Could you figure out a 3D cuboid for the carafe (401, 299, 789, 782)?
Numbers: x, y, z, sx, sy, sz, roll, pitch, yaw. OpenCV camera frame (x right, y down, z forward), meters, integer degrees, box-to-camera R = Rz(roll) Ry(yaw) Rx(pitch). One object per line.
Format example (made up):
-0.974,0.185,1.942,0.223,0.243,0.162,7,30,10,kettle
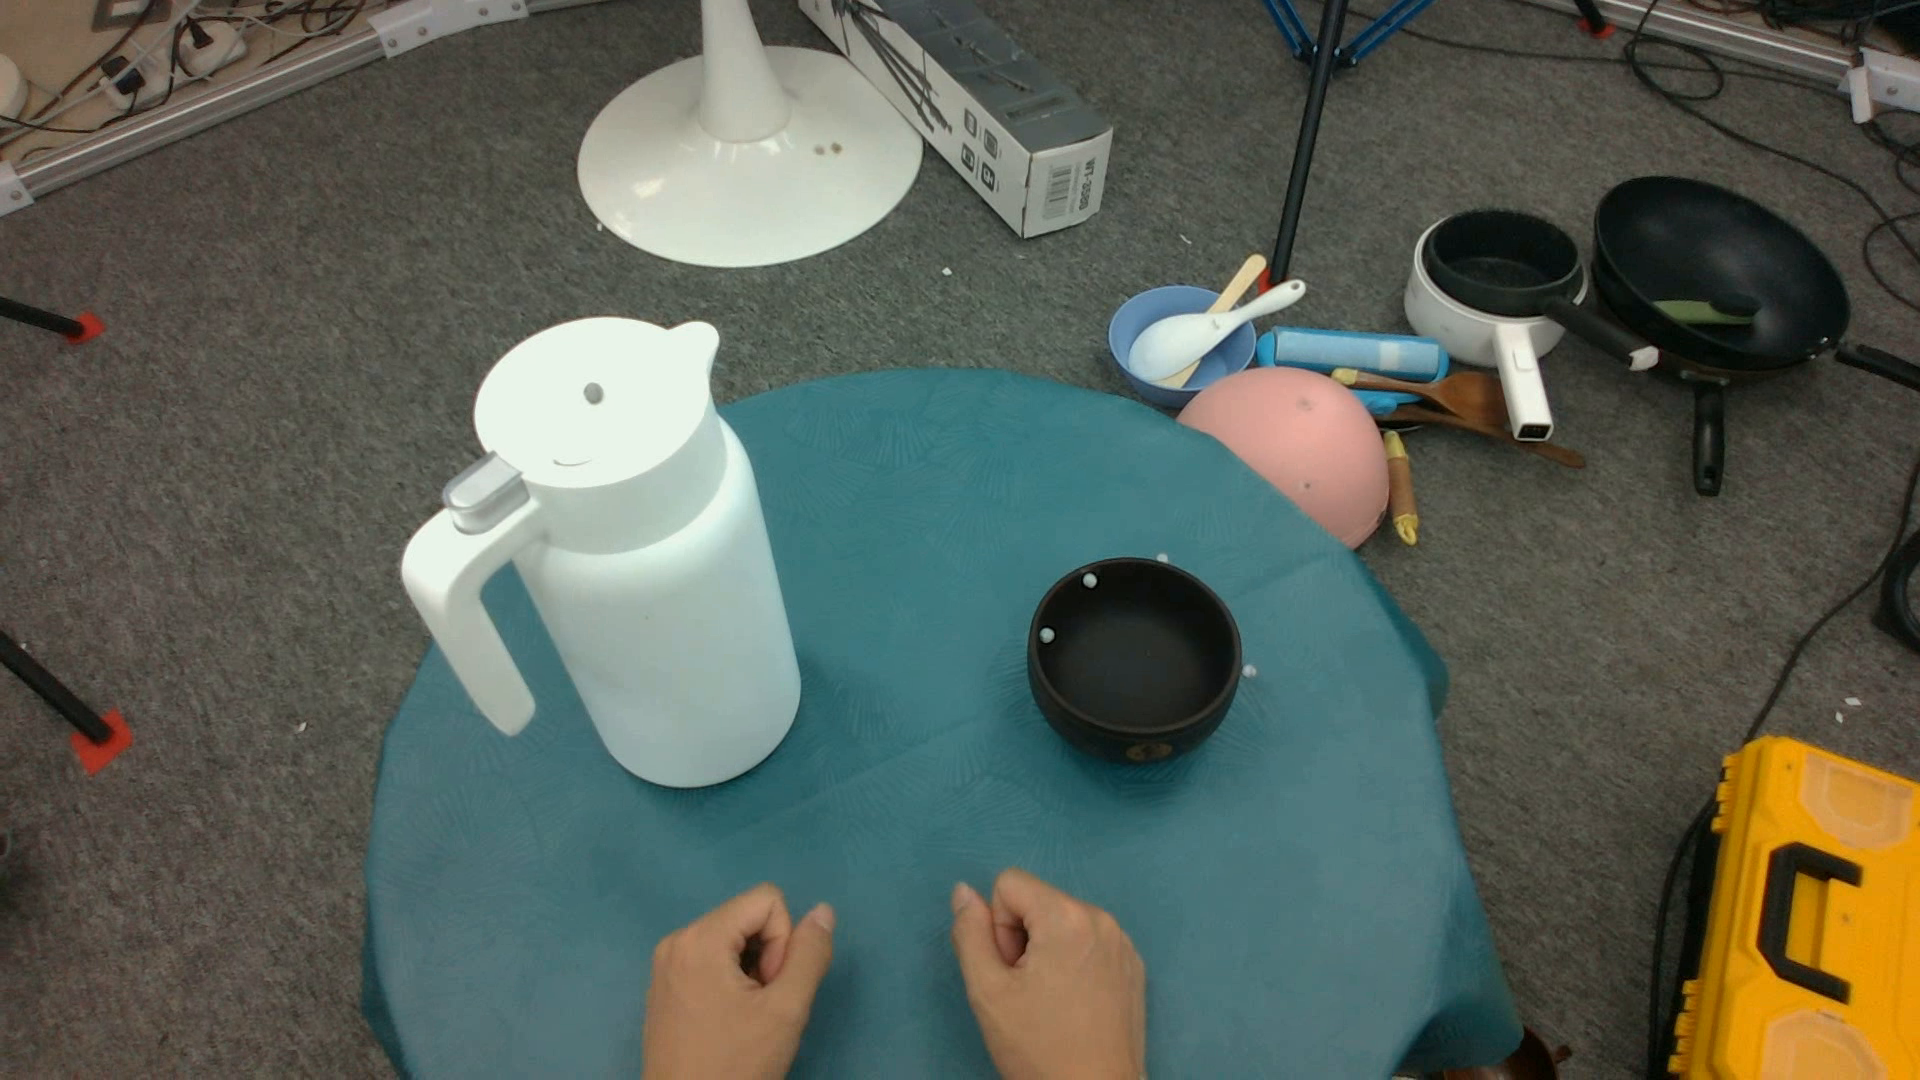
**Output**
-0.168,0.024,0.685,0.124,0.267,0.173,32,60,20,carafe

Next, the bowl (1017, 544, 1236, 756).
0.091,0.068,0.767,0.118,0.069,0.118,0,54,1,bowl
